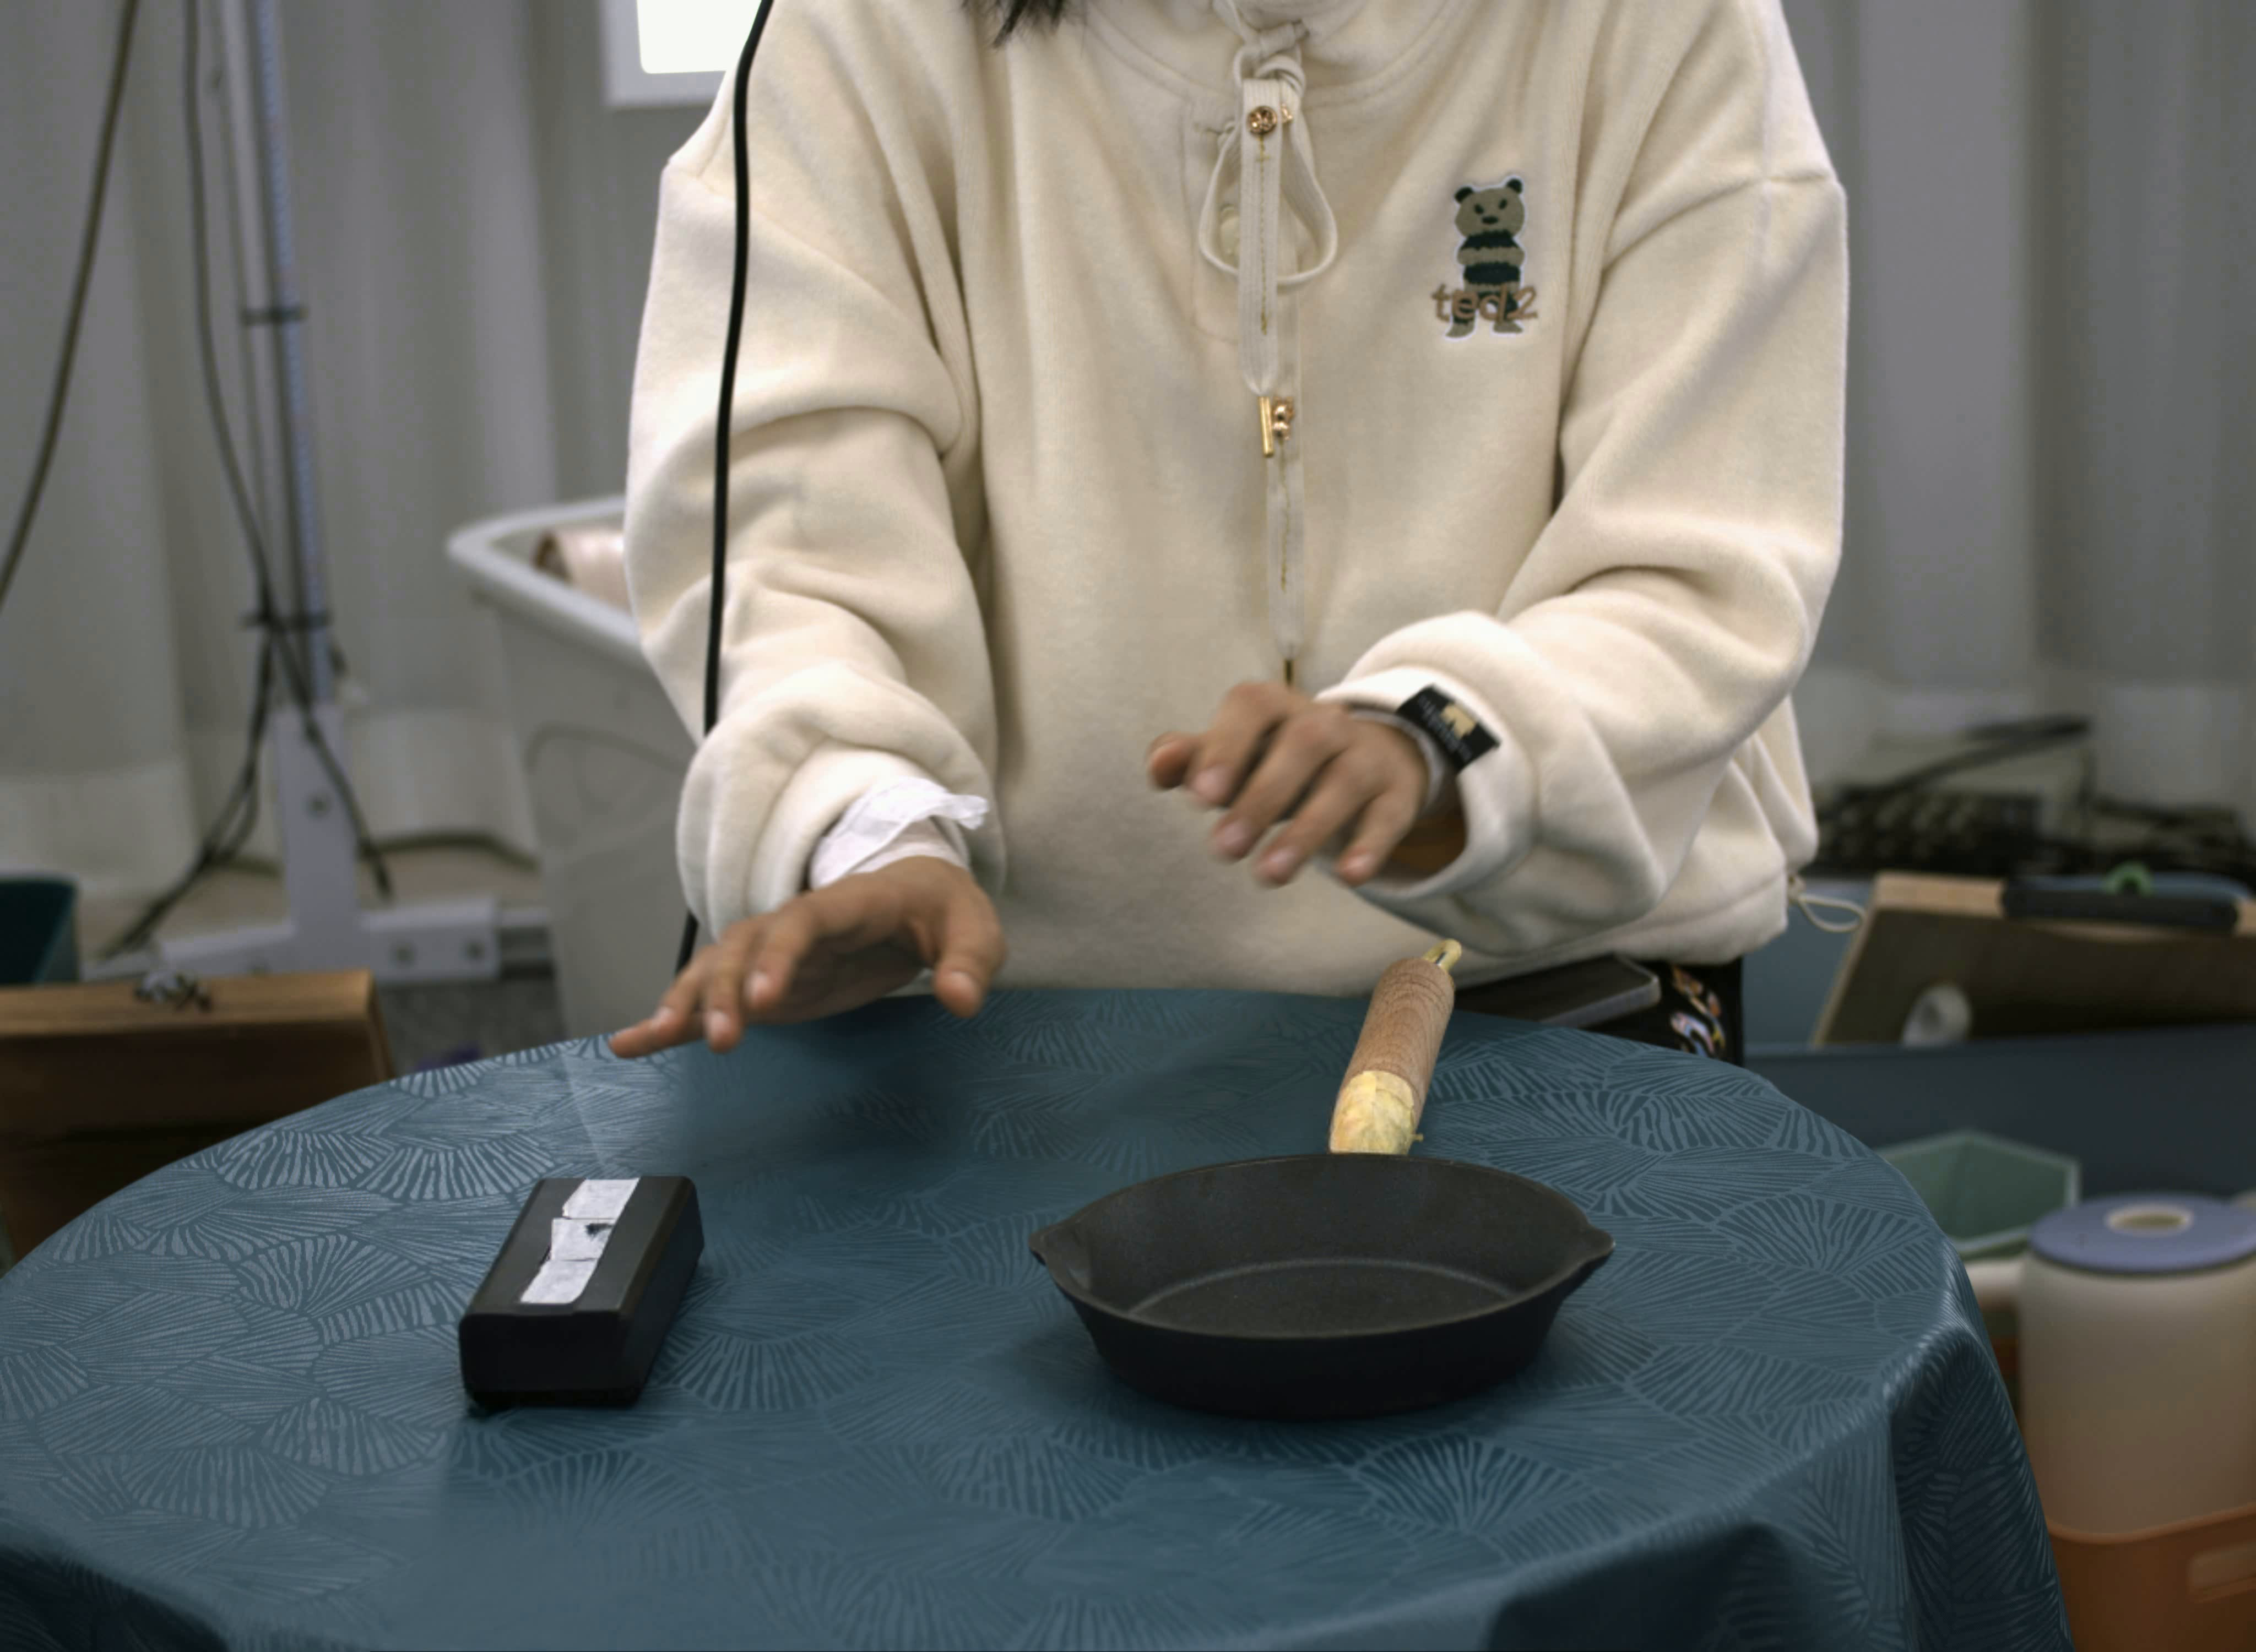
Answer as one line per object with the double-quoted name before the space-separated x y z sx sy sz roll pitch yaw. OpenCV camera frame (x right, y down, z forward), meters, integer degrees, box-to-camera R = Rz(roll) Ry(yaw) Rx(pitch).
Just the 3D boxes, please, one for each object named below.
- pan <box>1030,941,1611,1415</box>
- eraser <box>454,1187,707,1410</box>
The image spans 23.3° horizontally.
"pan" 0.072 0.103 1.646 0.168 0.049 0.326 -1 16 12
"eraser" -0.159 0.138 1.607 0.053 0.030 0.126 -1 13 5
